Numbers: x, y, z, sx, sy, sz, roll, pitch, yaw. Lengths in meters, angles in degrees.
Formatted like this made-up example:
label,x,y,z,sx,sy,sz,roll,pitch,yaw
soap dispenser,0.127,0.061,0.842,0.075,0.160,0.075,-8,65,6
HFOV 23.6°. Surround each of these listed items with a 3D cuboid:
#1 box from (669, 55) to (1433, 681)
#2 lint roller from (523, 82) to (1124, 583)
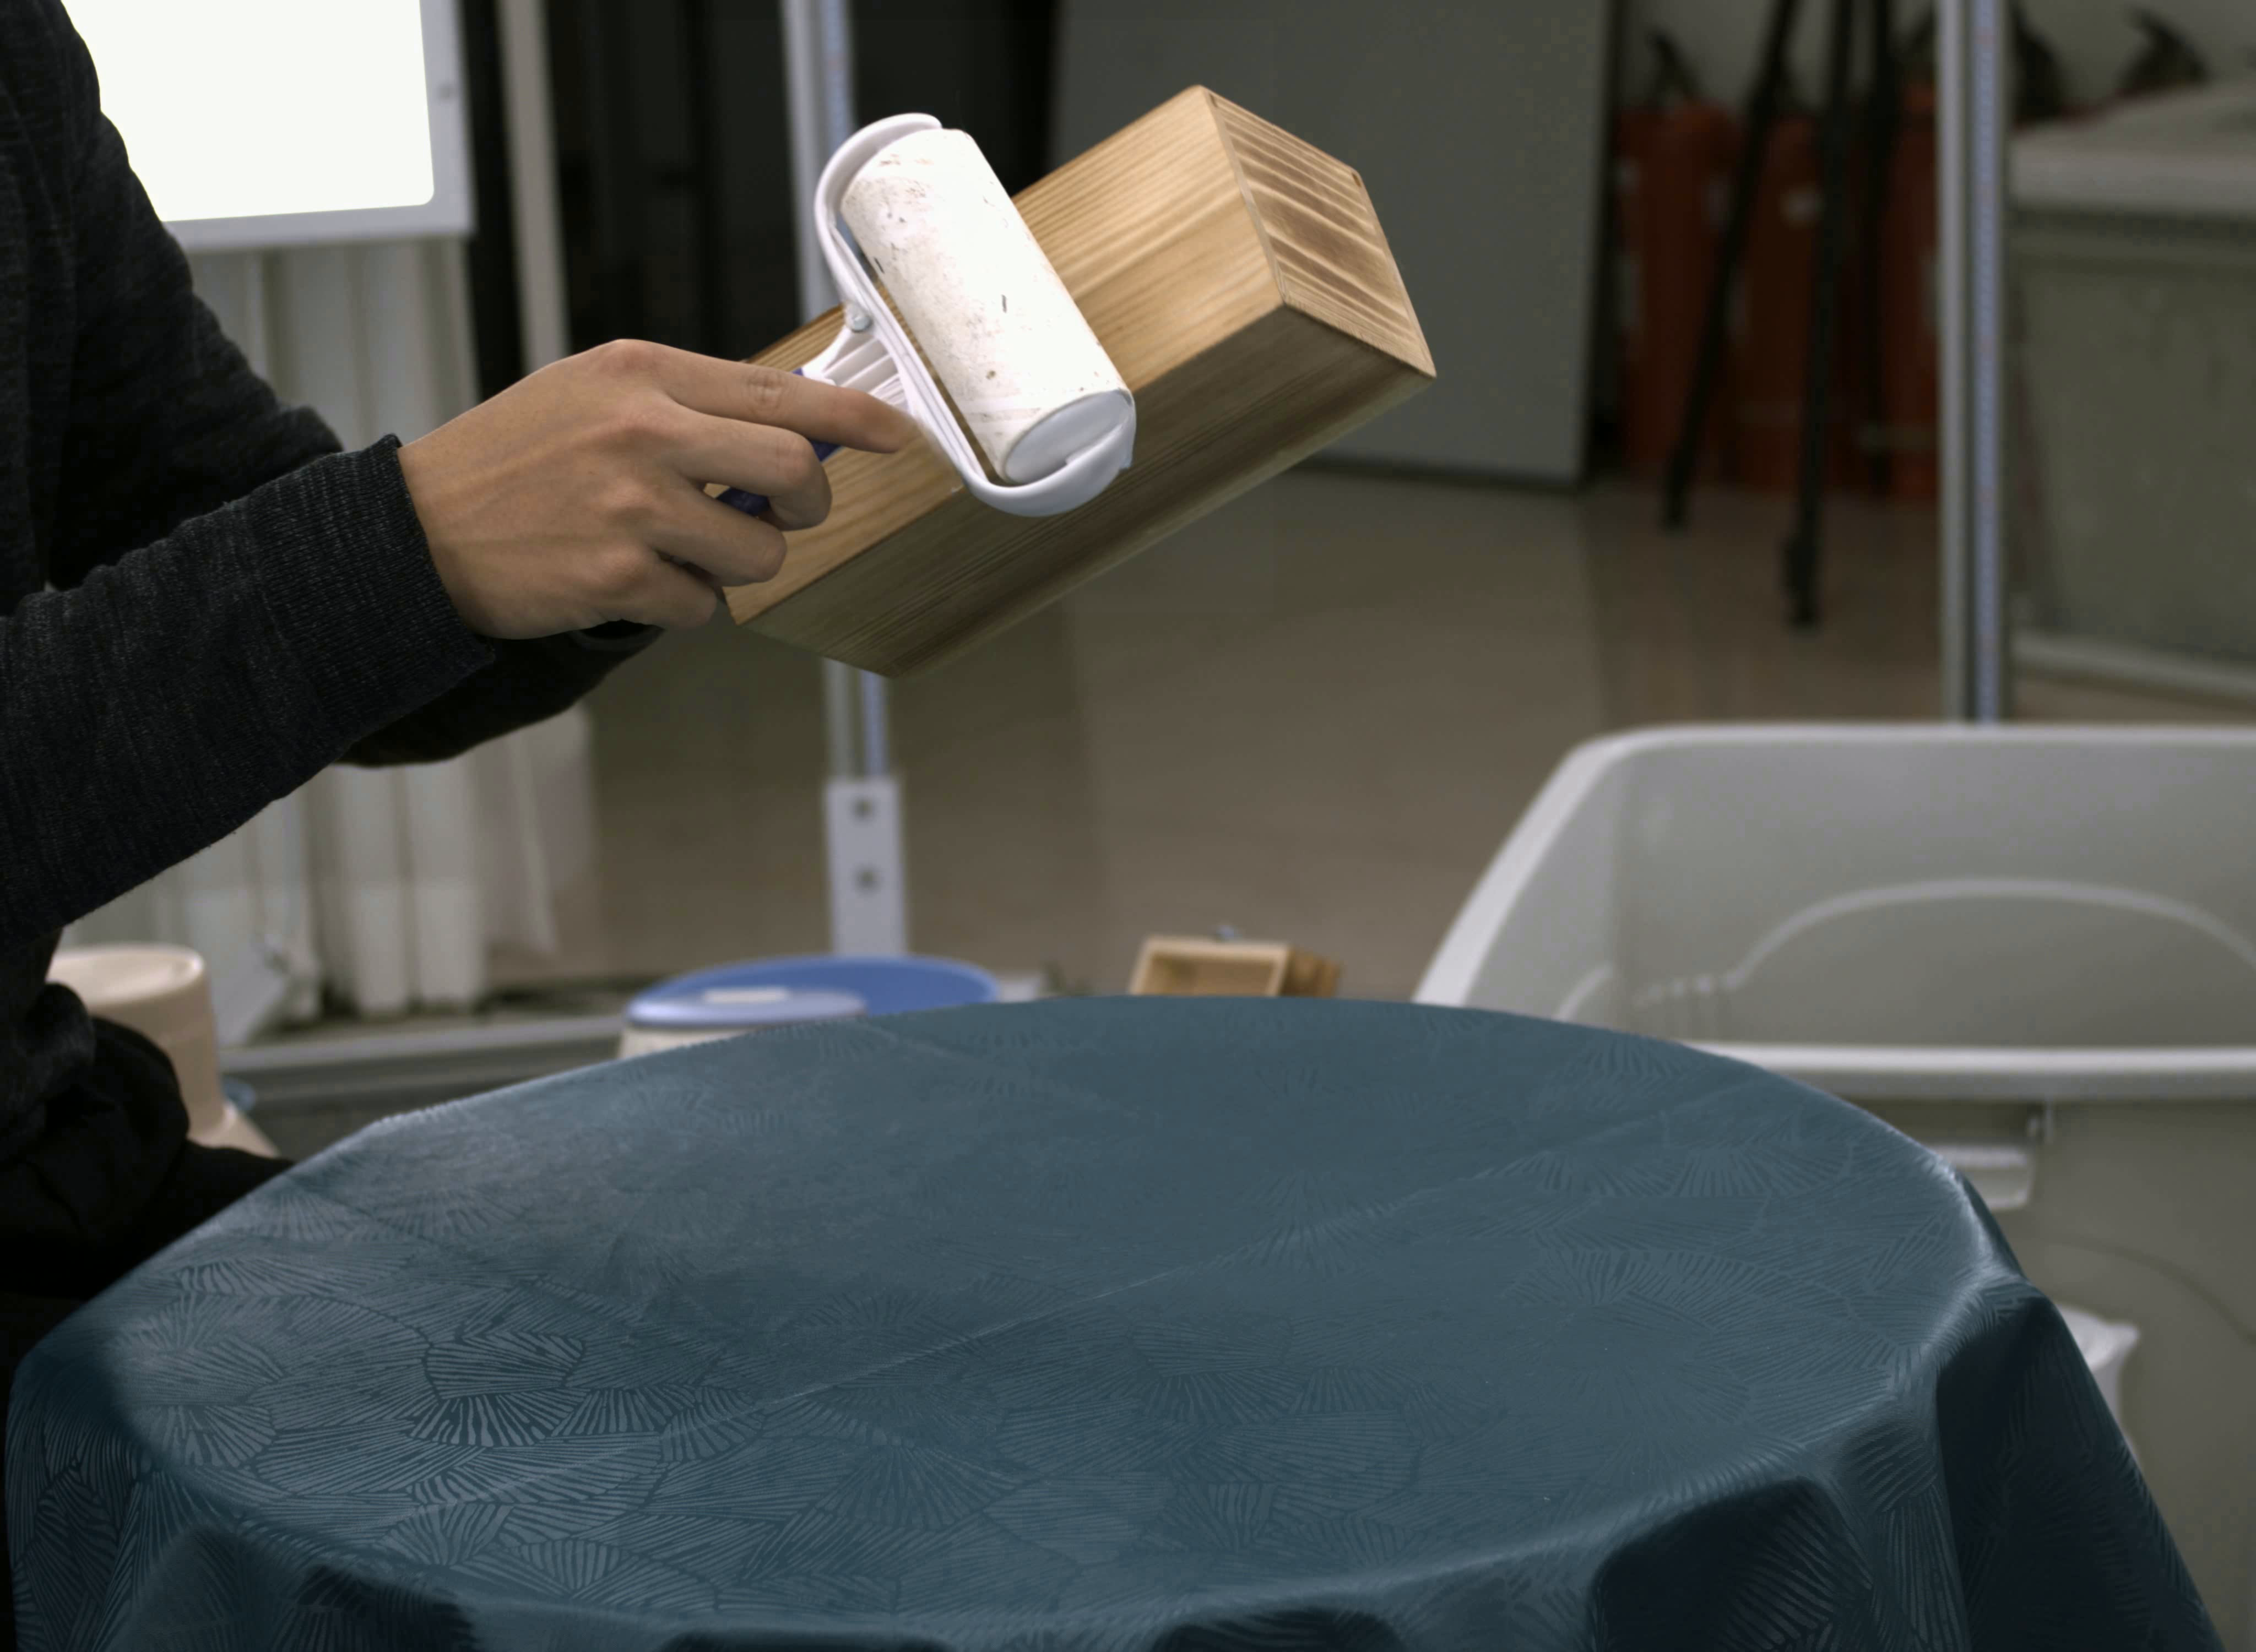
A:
label,x,y,z,sx,sy,sz,roll,pitch,yaw
box,-0.024,-0.139,1.689,0.212,0.081,0.106,-30,-23,23
lint roller,-0.102,-0.130,1.591,0.179,0.134,0.050,-28,-18,-6
